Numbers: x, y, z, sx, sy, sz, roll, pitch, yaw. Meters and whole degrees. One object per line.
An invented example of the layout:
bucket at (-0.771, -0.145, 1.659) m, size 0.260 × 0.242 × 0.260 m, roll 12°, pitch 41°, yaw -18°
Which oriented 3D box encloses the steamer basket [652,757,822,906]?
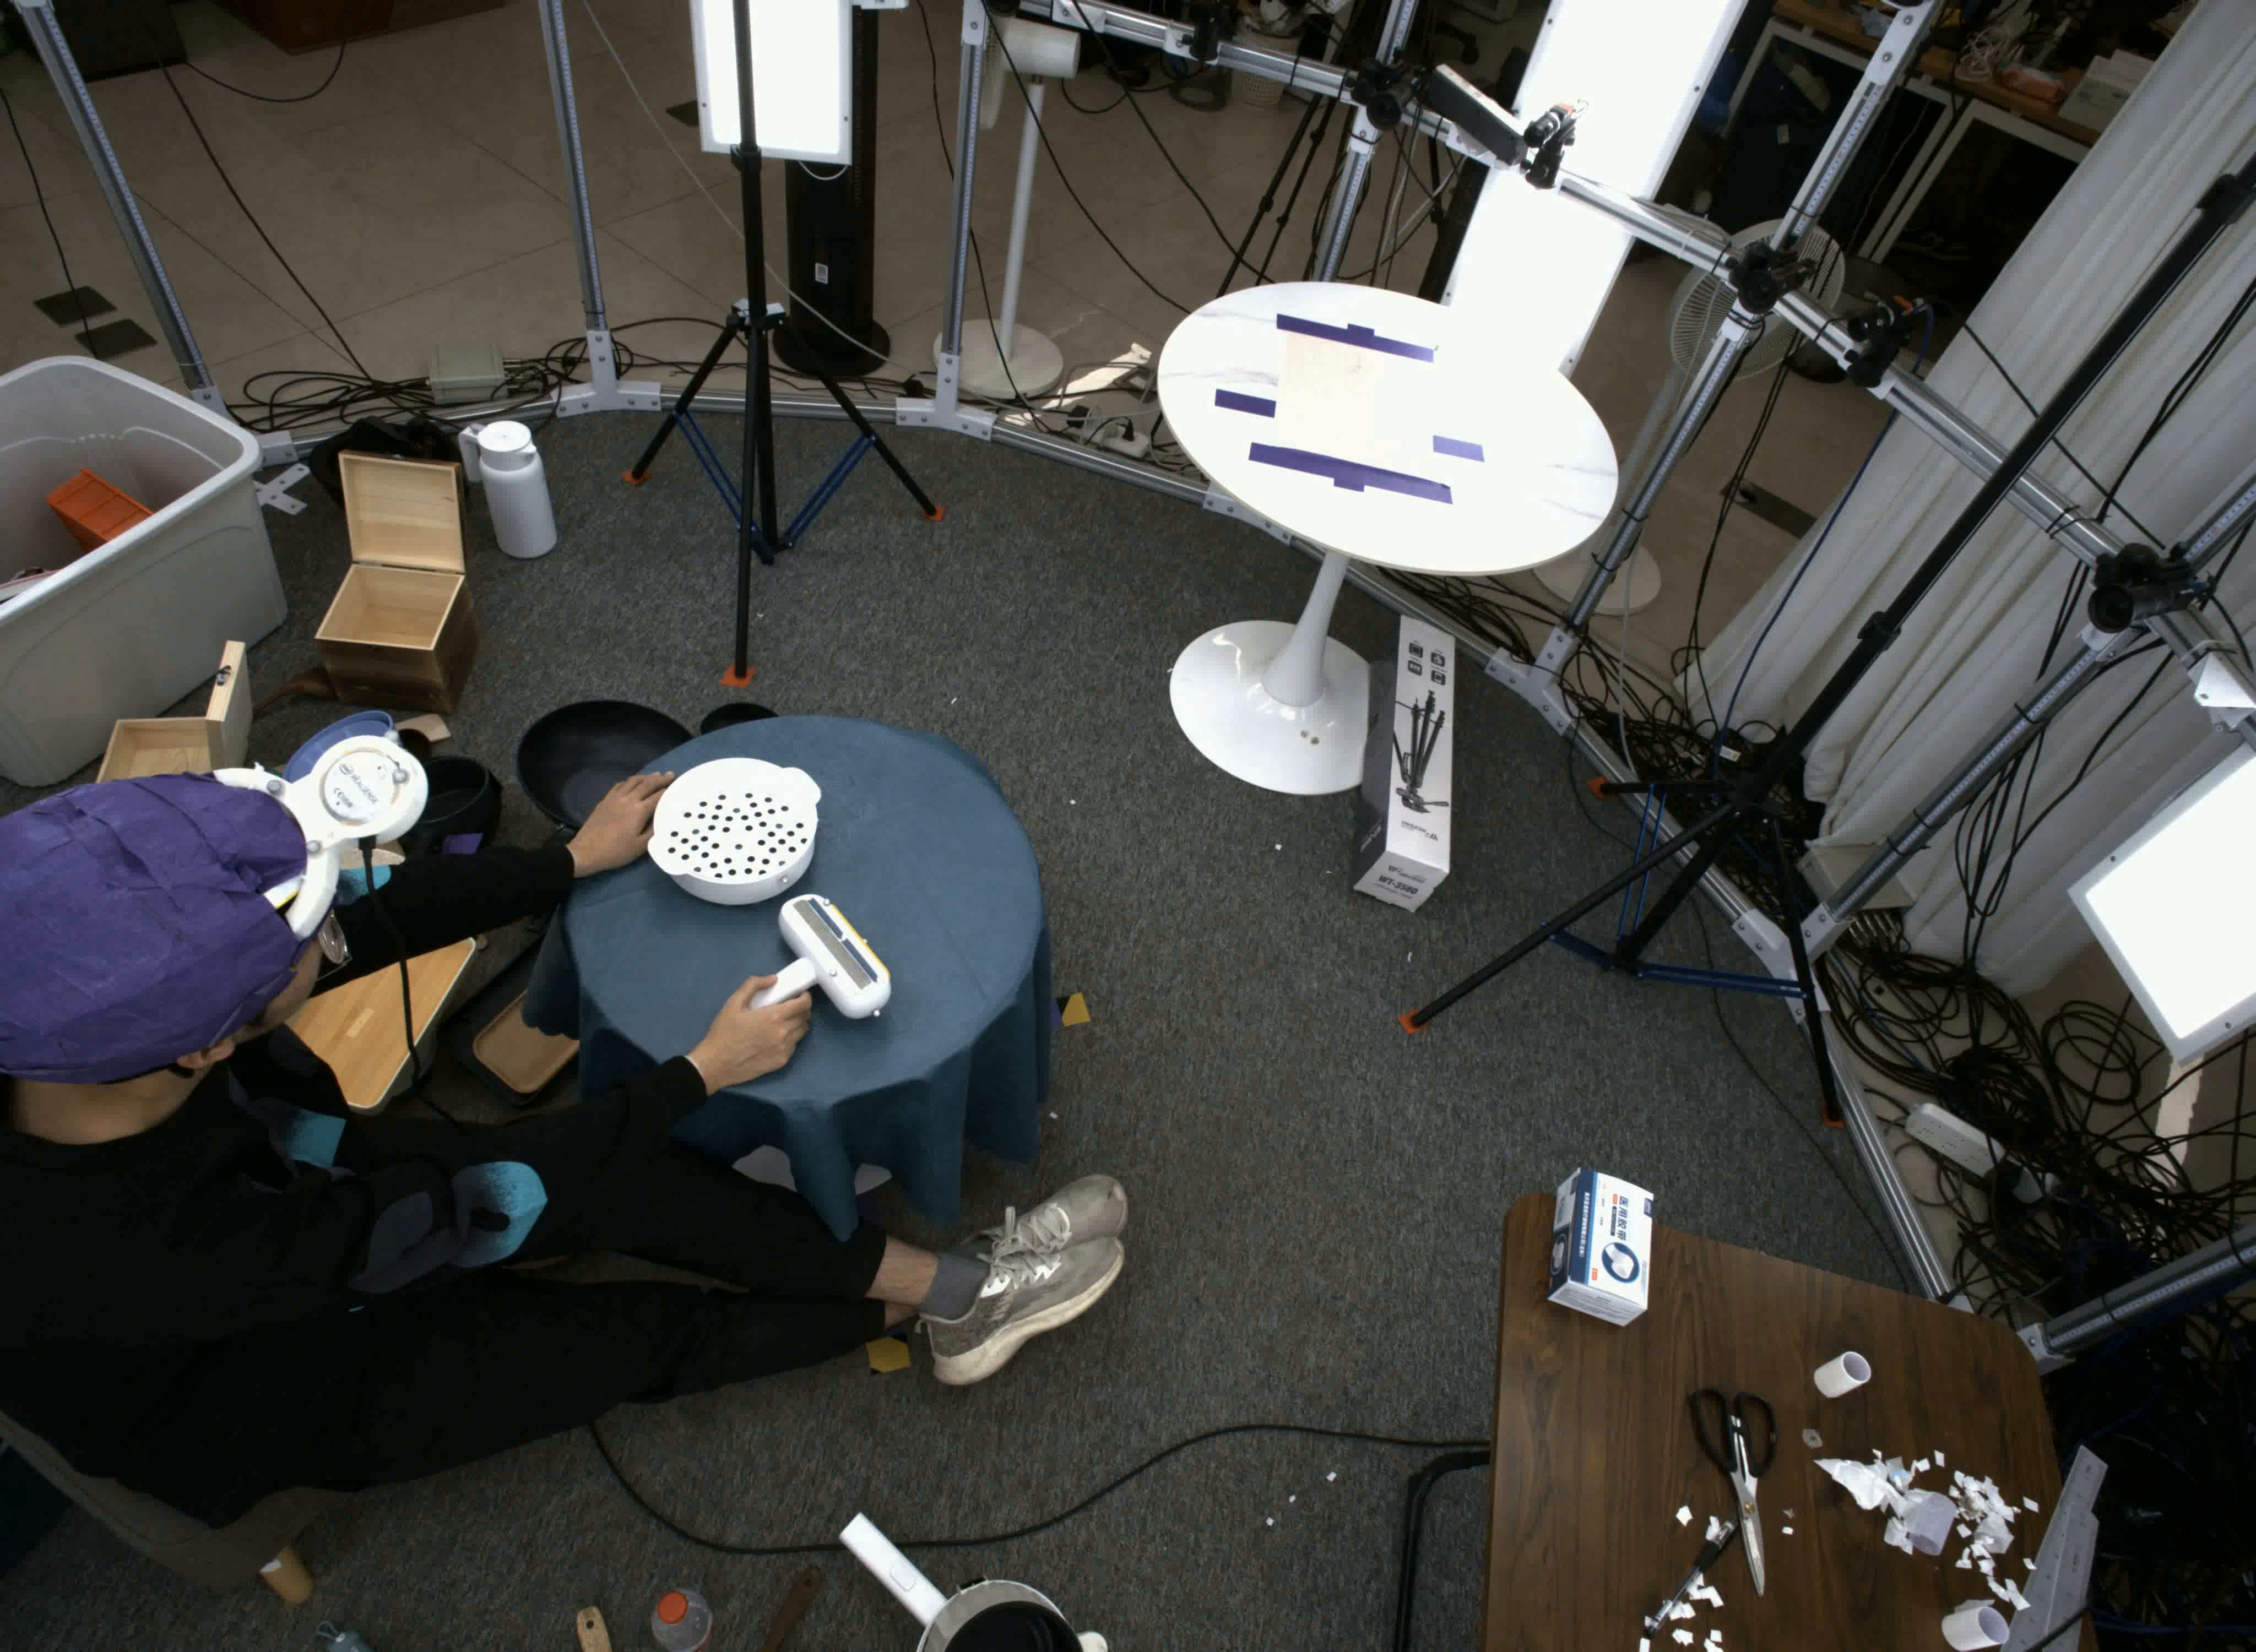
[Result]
steamer basket at (-0.498, 0.007, 1.665) m, size 0.231 × 0.071 × 0.197 m, roll -34°, pitch 67°, yaw -29°

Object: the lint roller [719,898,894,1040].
lint roller at (-0.401, 0.187, 1.555) m, size 0.193 × 0.076 × 0.187 m, roll -25°, pitch 58°, yaw -27°
